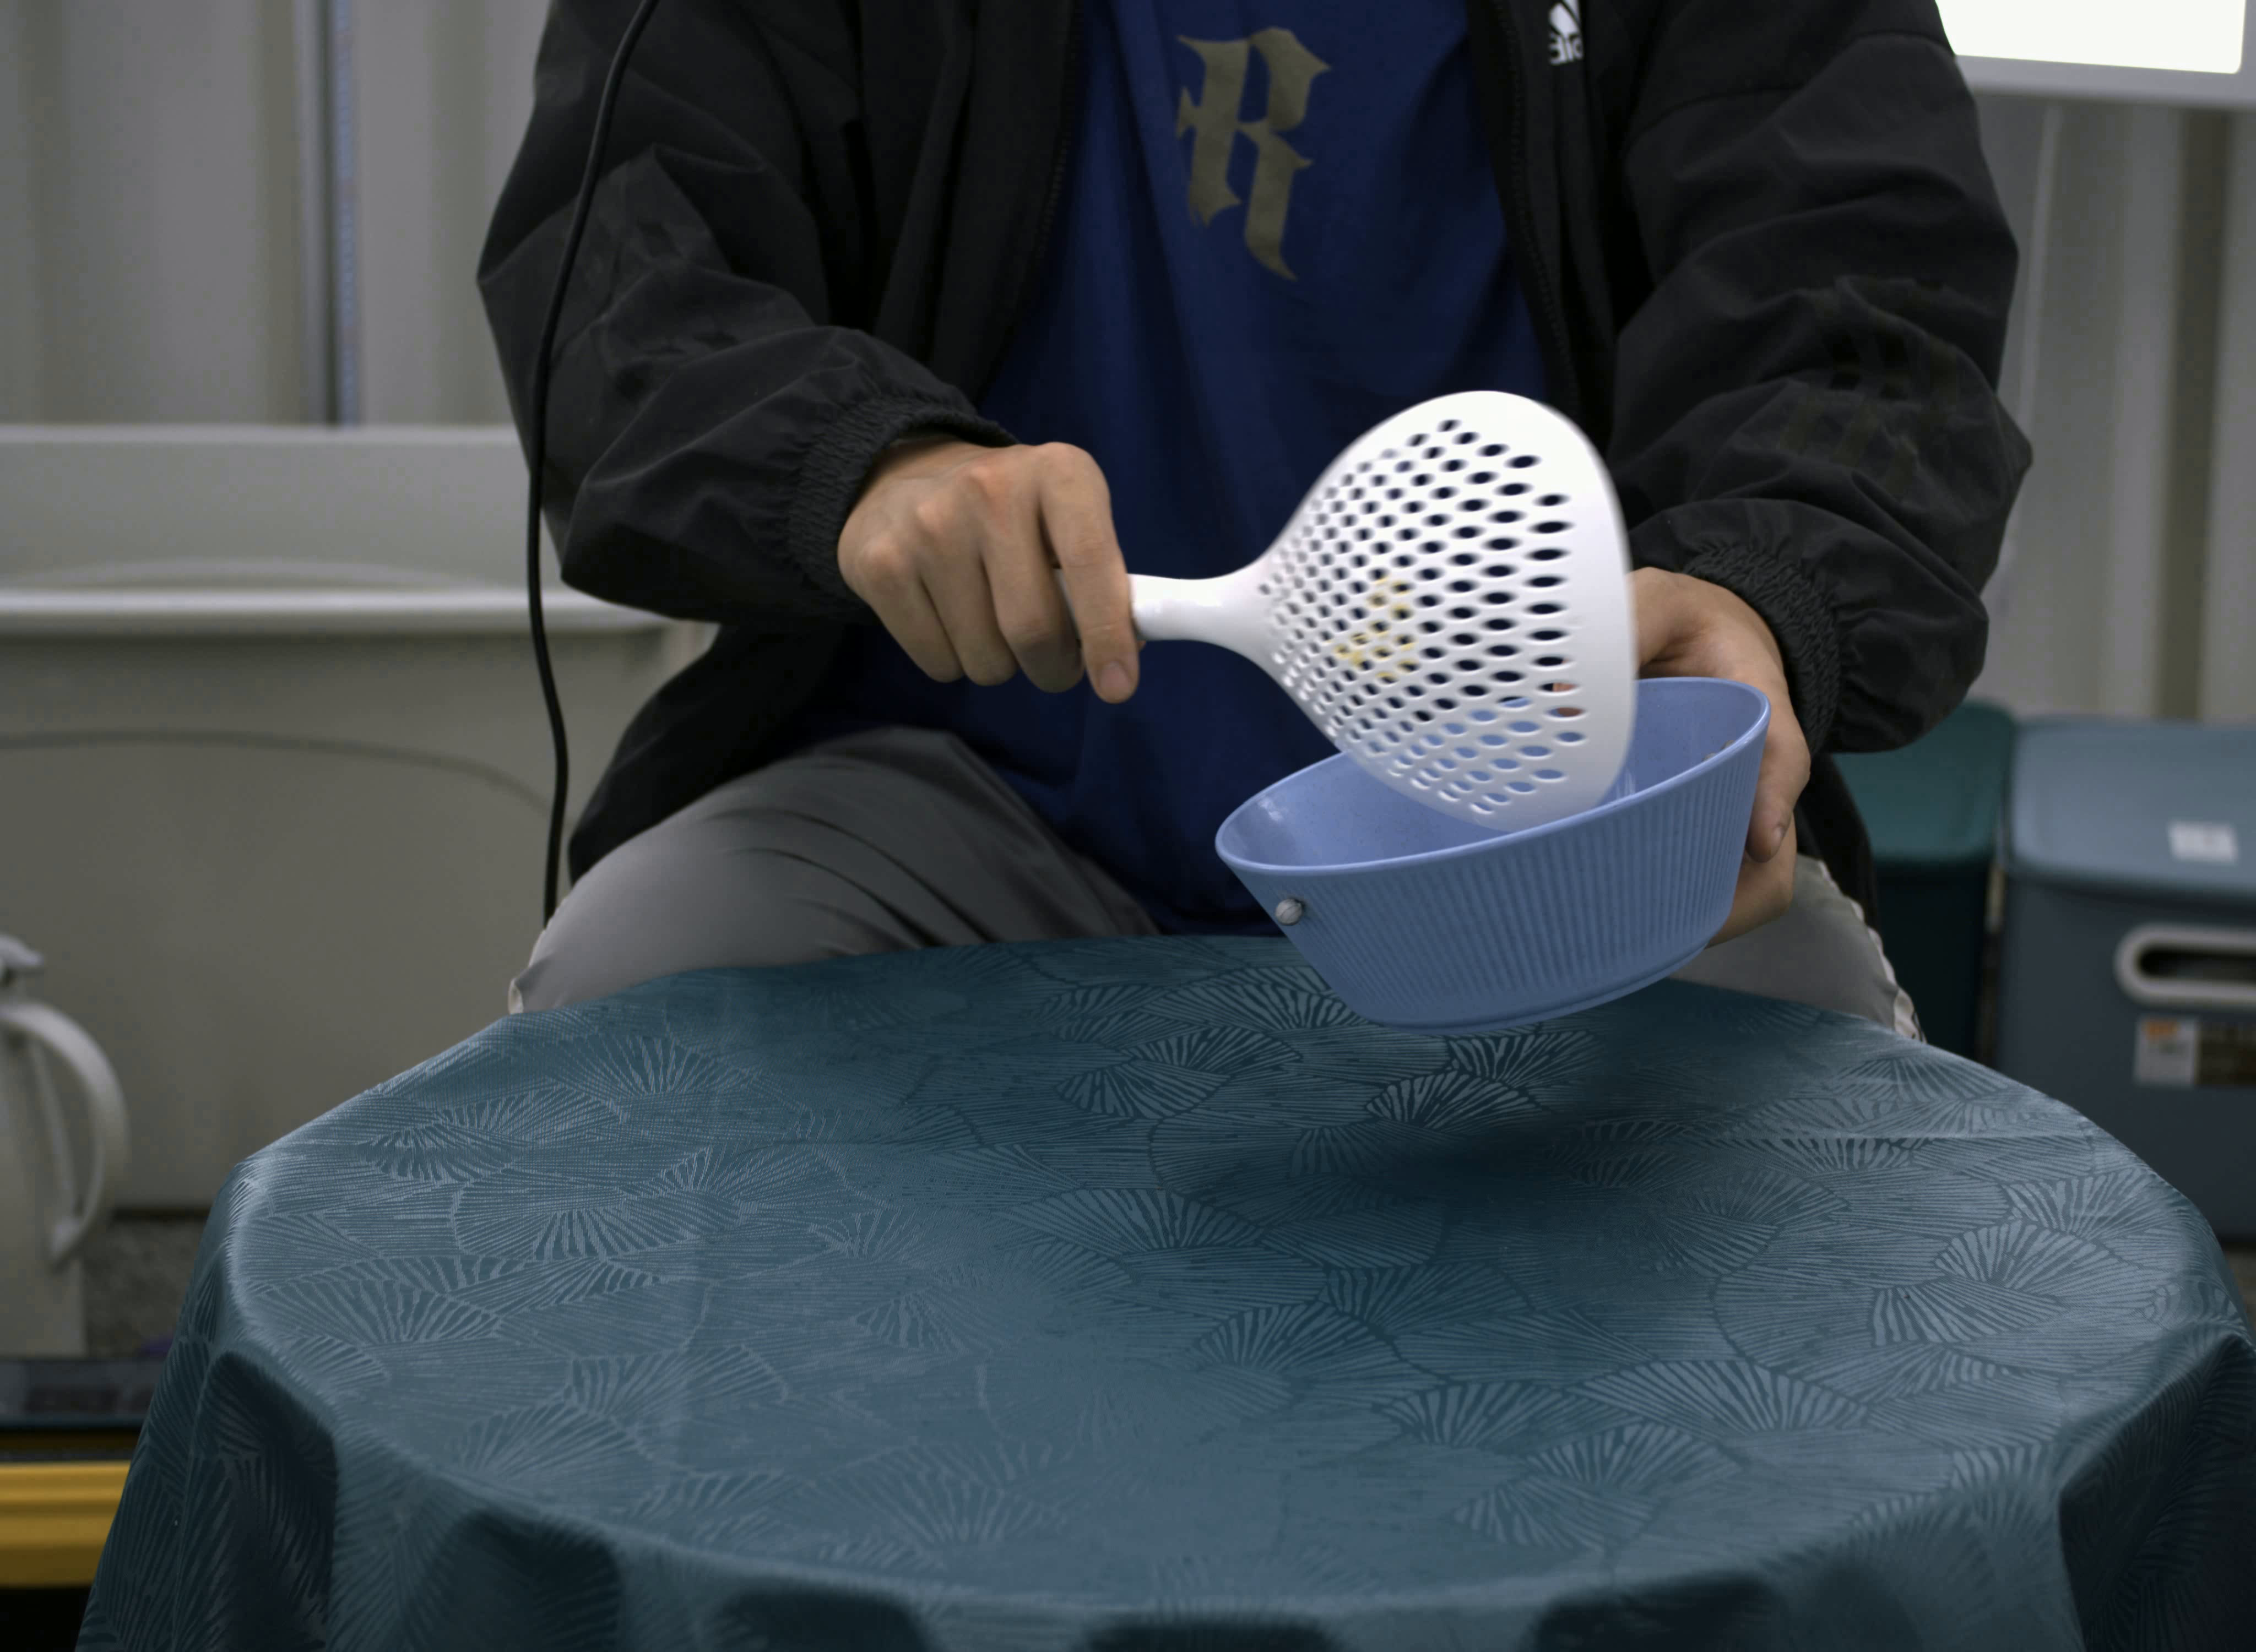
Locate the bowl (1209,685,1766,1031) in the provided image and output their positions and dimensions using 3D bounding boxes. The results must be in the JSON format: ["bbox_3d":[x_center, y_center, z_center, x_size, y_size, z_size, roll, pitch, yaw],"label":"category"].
[{"bbox_3d":[0.117,0.013,1.626,0.175,0.071,0.175,-13,13,4],"label":"bowl"}]

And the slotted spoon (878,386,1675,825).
[{"bbox_3d":[0.038,-0.069,1.664,0.050,0.138,0.344,-11,11,-36],"label":"slotted spoon"}]
